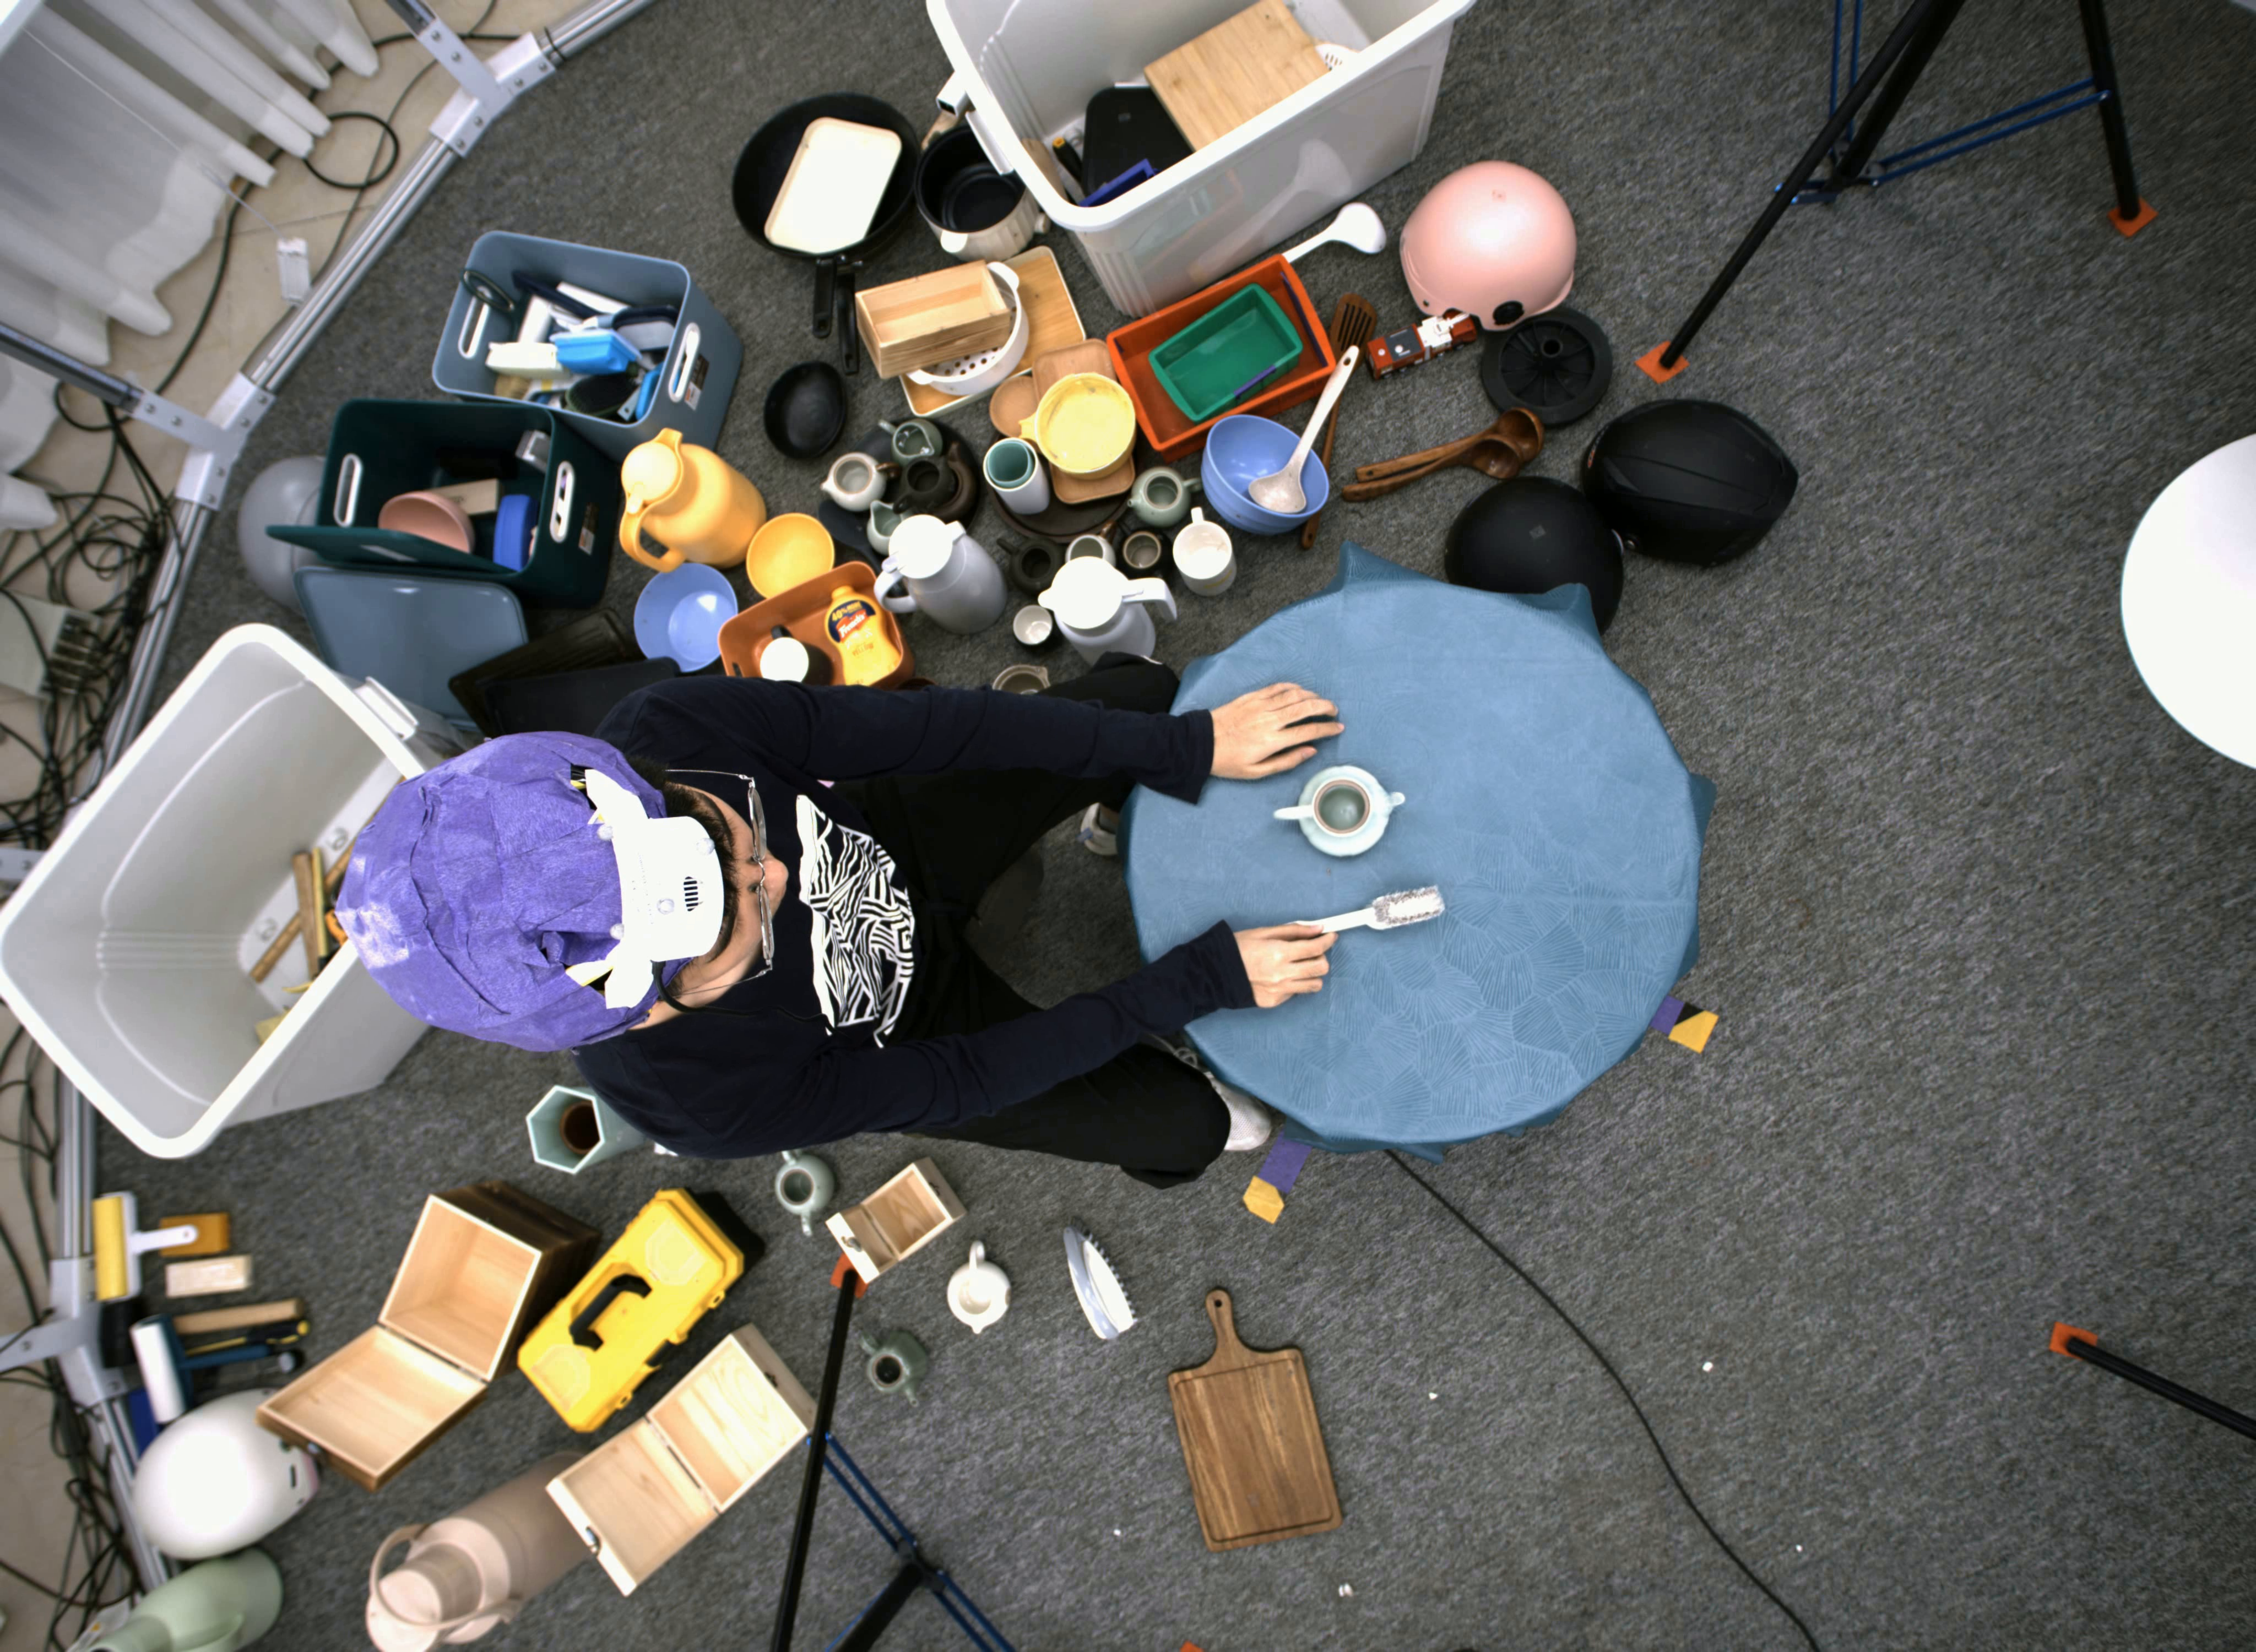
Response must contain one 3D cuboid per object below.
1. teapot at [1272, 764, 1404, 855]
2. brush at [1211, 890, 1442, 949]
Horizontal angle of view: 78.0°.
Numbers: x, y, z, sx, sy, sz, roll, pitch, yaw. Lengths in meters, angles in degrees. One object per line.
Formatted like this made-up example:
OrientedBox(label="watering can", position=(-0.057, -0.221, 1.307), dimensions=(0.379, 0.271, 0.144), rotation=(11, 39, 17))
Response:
OrientedBox(label="teapot", position=(0.219, -0.019, 1.442), dimensions=(0.137, 0.061, 0.096), rotation=(-10, 88, 9))
OrientedBox(label="brush", position=(0.205, 0.099, 1.446), dimensions=(0.245, 0.050, 0.034), rotation=(-10, 88, 10))
